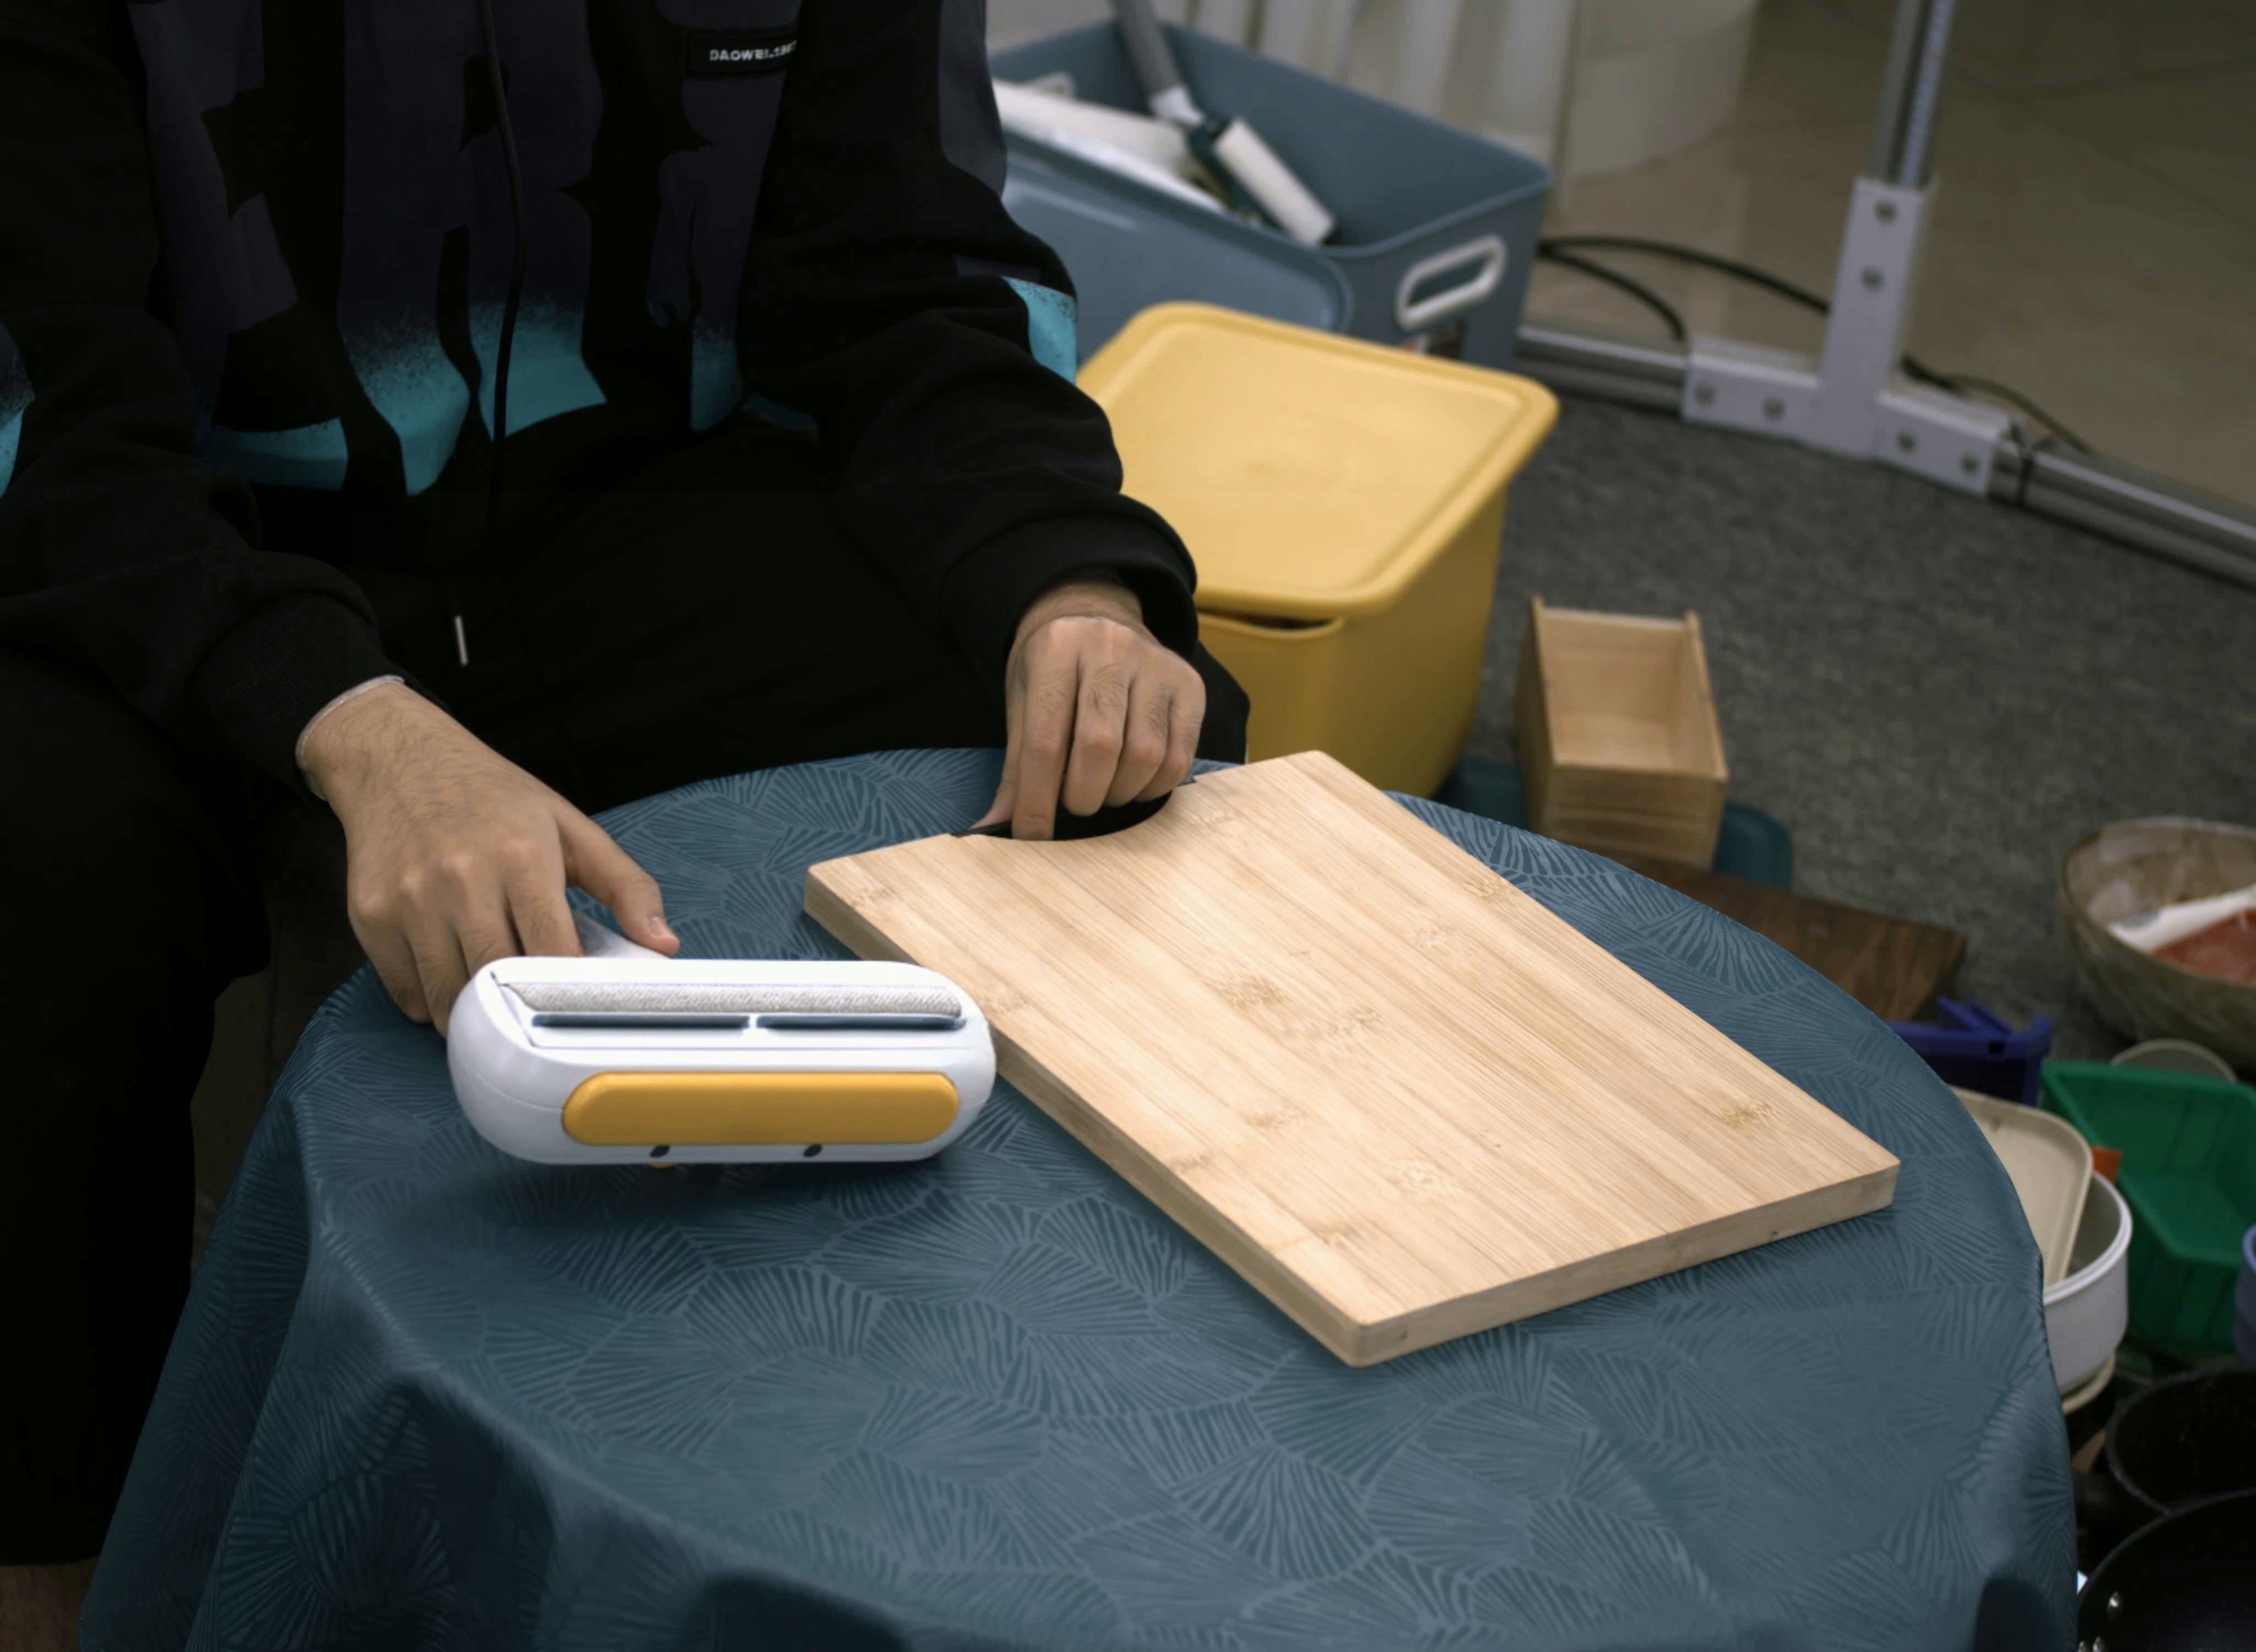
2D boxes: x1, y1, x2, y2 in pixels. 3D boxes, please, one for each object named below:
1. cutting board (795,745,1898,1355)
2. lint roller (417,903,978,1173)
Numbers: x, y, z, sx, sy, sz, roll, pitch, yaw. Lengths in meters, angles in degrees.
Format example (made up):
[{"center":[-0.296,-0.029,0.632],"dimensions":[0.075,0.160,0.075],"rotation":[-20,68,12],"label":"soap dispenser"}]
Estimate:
[{"center":[0.071,0.072,1.899],"dimensions":[0.249,0.023,0.352],"rotation":[-13,33,-34],"label":"cutting board"},{"center":[-0.166,0.060,1.814],"dimensions":[0.191,0.074,0.194],"rotation":[-1,26,-26],"label":"lint roller"}]
